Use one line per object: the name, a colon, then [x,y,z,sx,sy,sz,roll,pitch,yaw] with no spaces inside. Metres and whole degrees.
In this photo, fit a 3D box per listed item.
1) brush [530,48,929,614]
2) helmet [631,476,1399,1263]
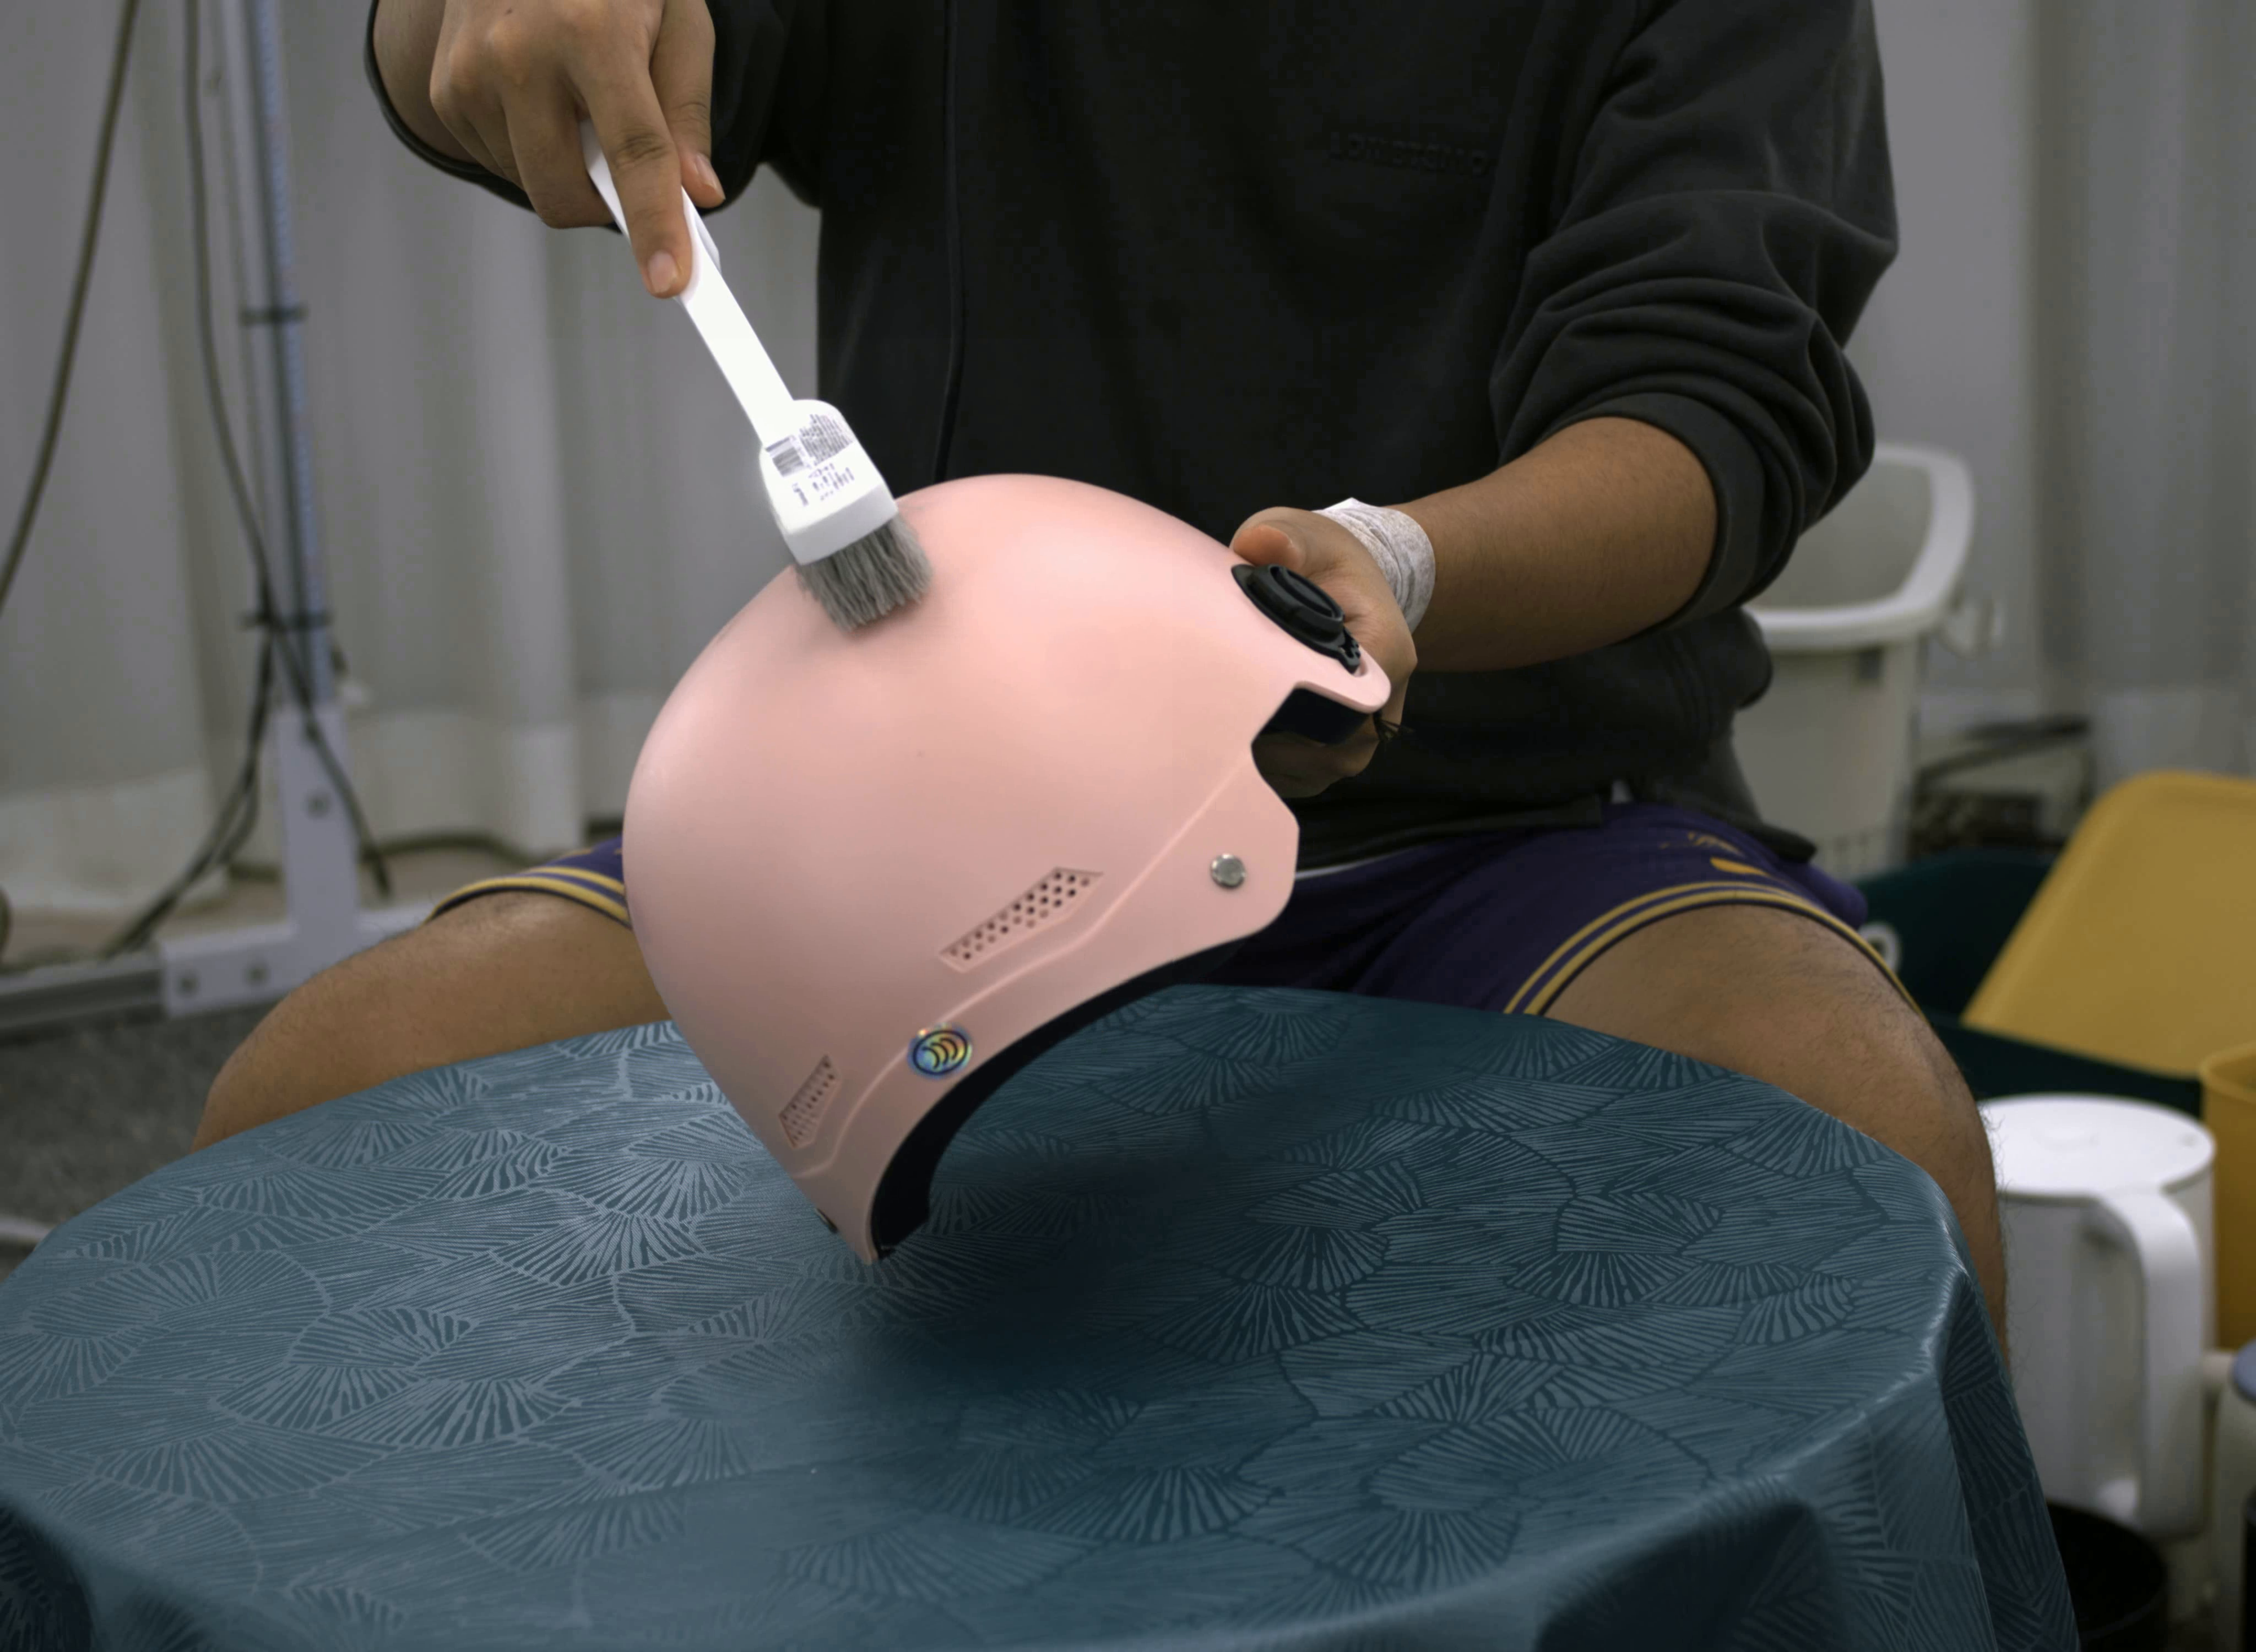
brush: [-0.119,-0.146,1.607,0.034,0.049,0.247,-29,48,-5]
helmet: [-0.052,-0.014,1.626,0.233,0.158,0.268,-43,7,25]
